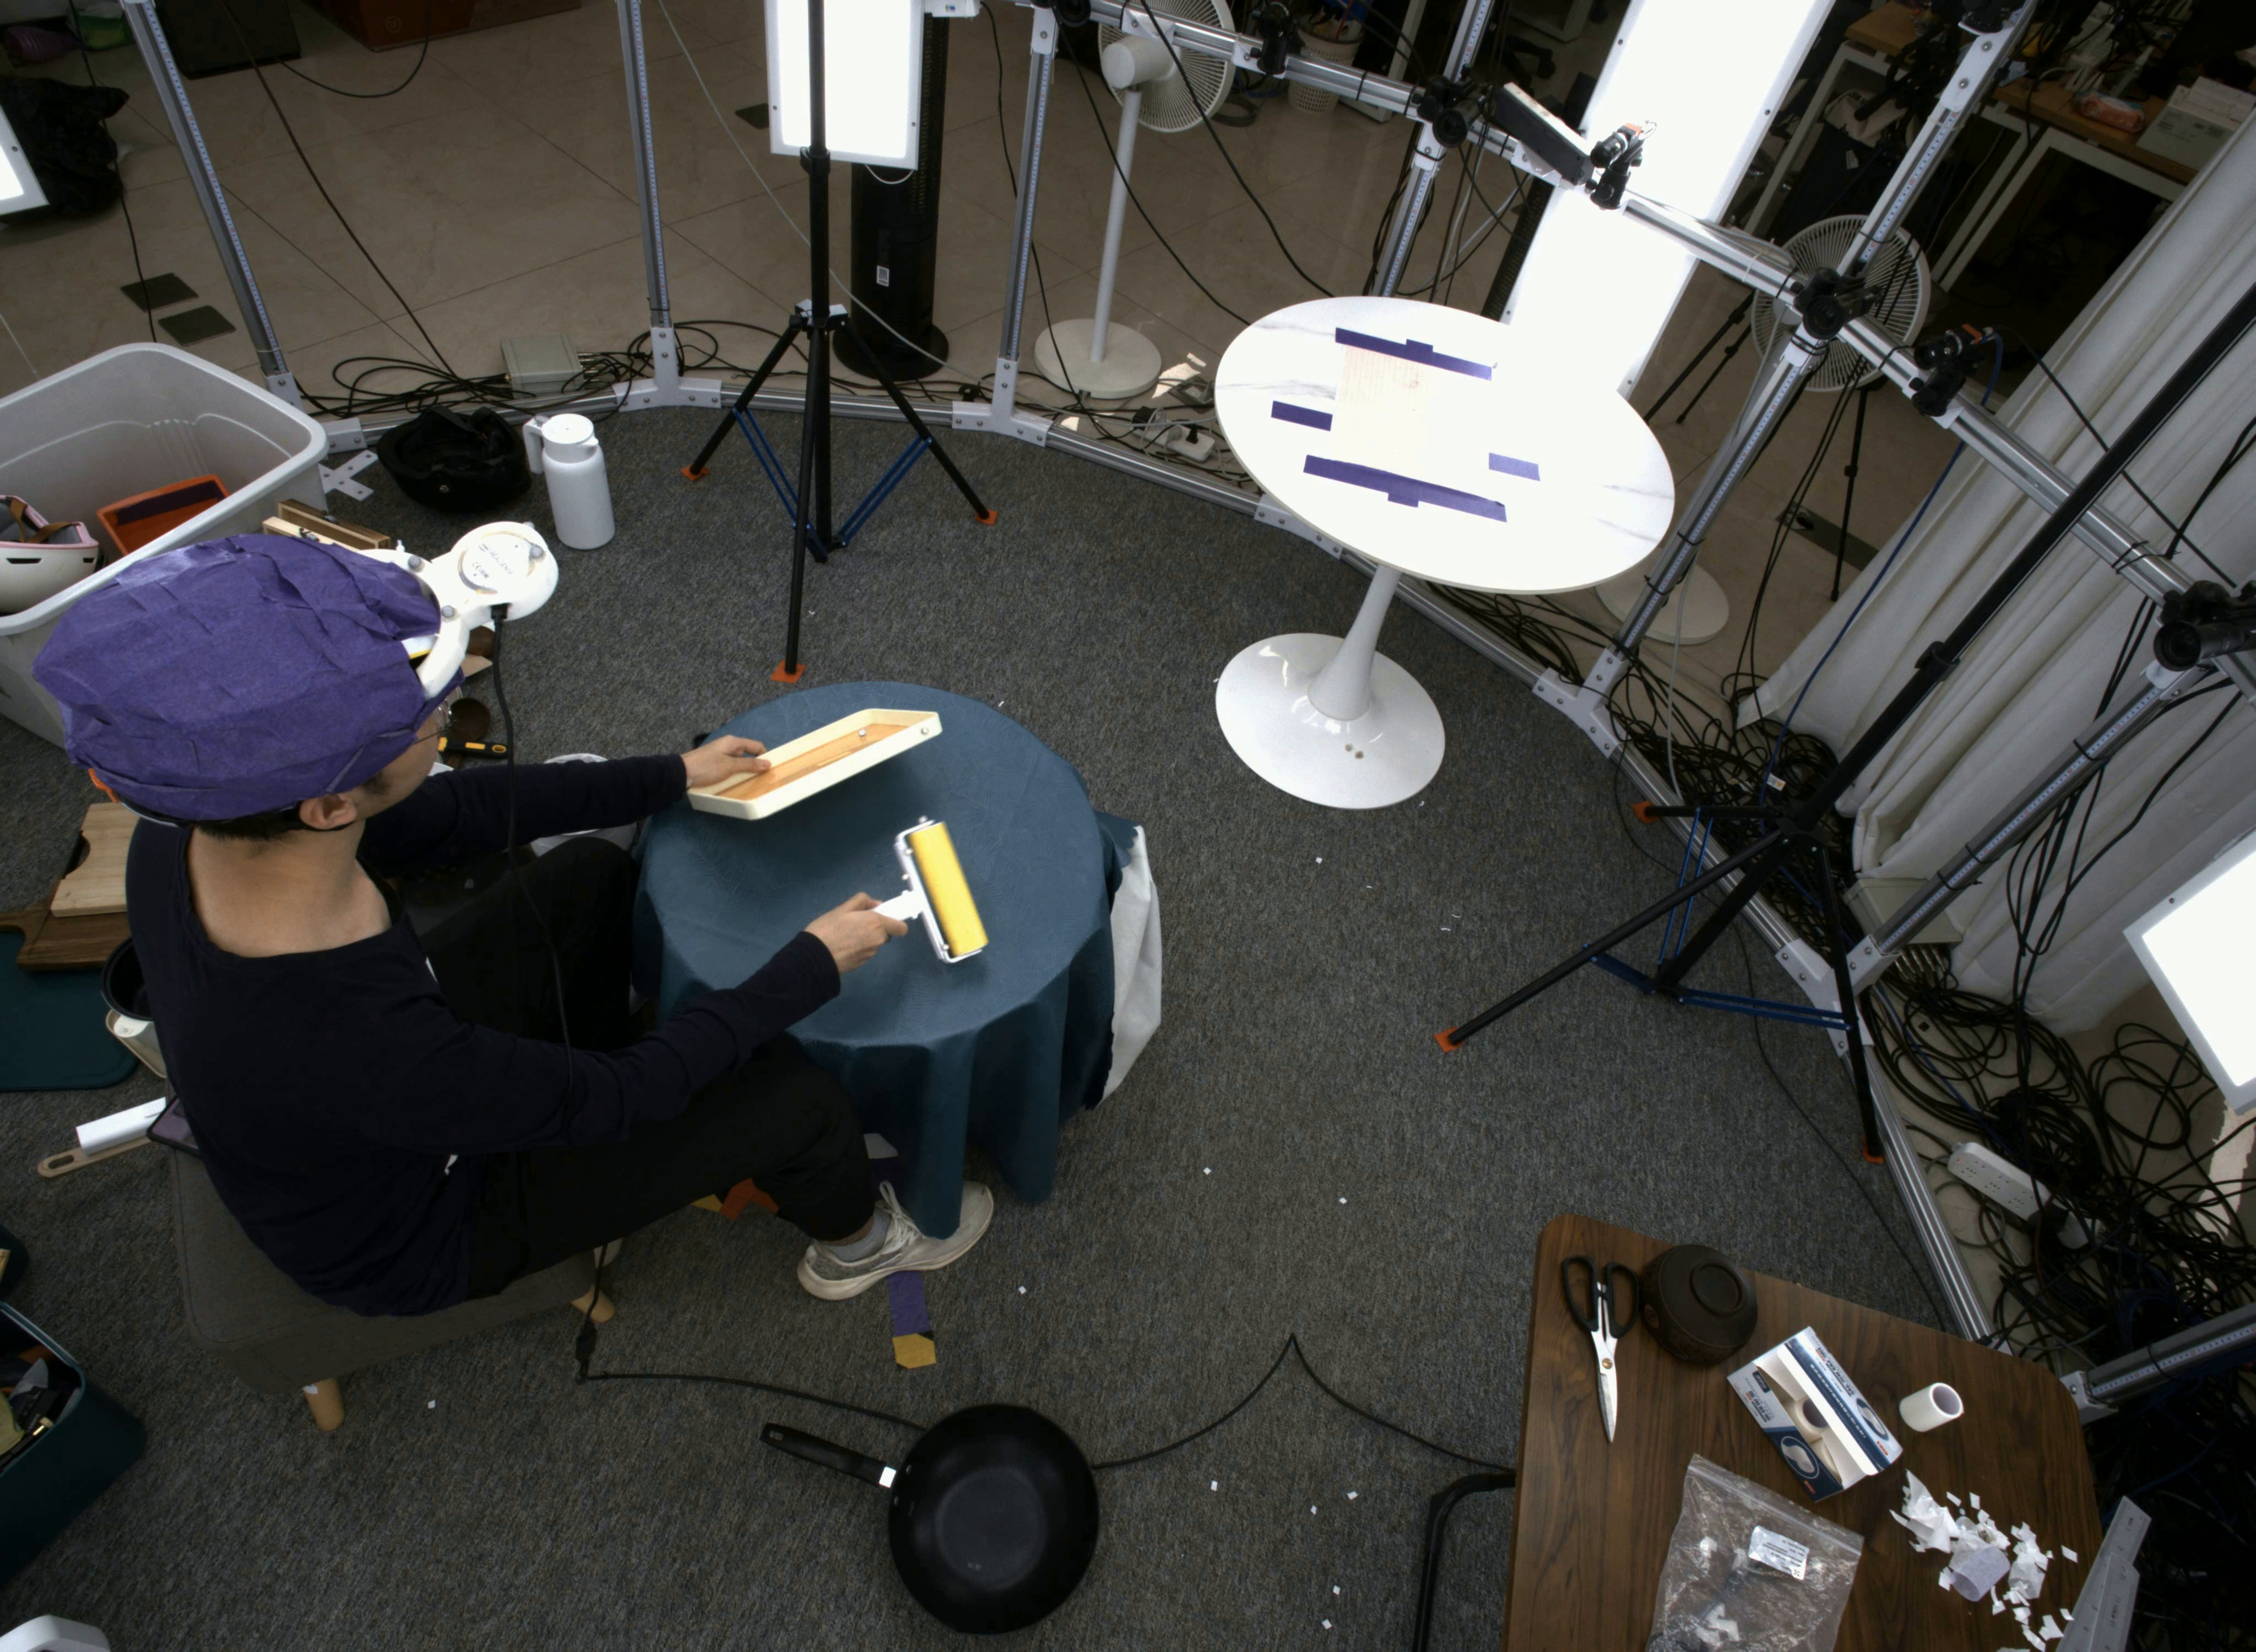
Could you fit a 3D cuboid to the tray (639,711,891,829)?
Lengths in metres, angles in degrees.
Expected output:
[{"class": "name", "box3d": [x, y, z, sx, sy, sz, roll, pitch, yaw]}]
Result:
[{"class": "tray", "box3d": [-0.470, -0.079, 1.680, 0.185, 0.028, 0.301, 6, 30, 45]}]

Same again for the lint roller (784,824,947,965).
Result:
[{"class": "lint roller", "box3d": [-0.328, 0.106, 1.571, 0.193, 0.050, 0.177, -30, 97, -45]}]
